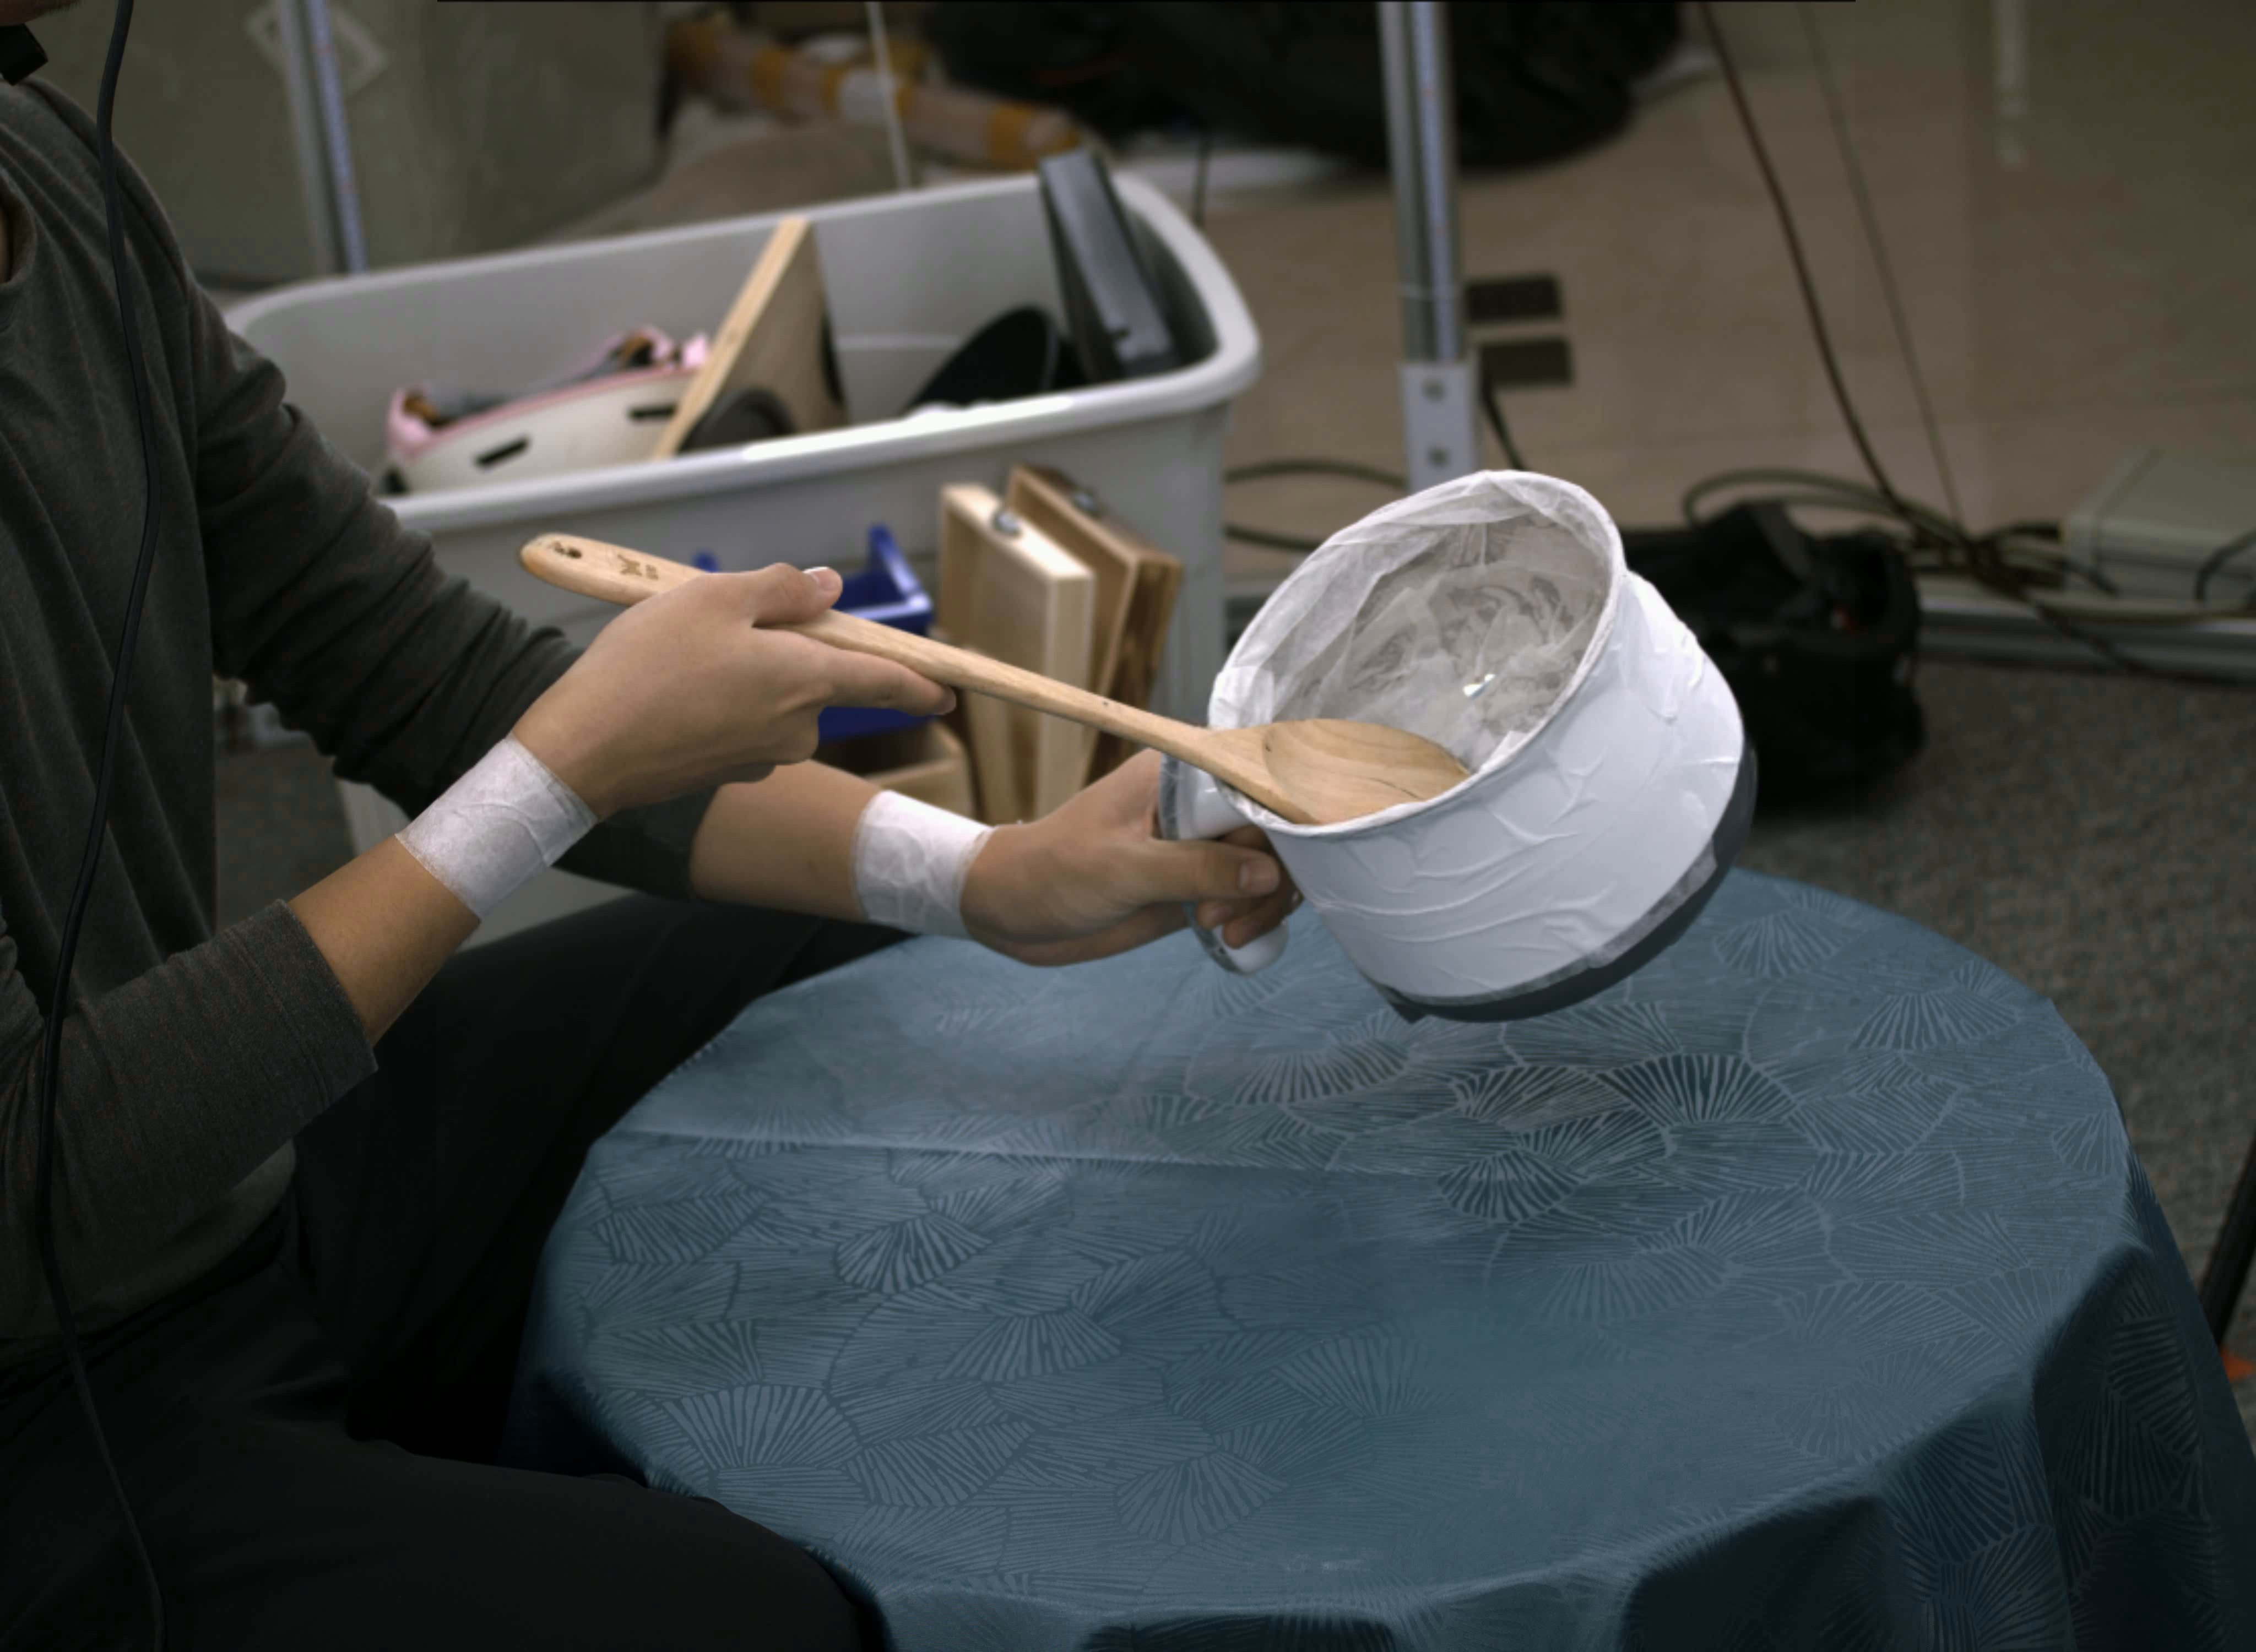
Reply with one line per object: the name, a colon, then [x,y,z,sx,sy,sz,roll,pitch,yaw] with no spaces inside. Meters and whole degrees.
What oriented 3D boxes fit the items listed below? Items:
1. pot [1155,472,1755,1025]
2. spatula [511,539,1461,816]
pot: [0.112,-0.016,2.136,0.234,0.138,0.175,-21,39,24]
spatula: [-0.039,-0.047,2.061,0.392,0.019,0.094,16,25,-21]
